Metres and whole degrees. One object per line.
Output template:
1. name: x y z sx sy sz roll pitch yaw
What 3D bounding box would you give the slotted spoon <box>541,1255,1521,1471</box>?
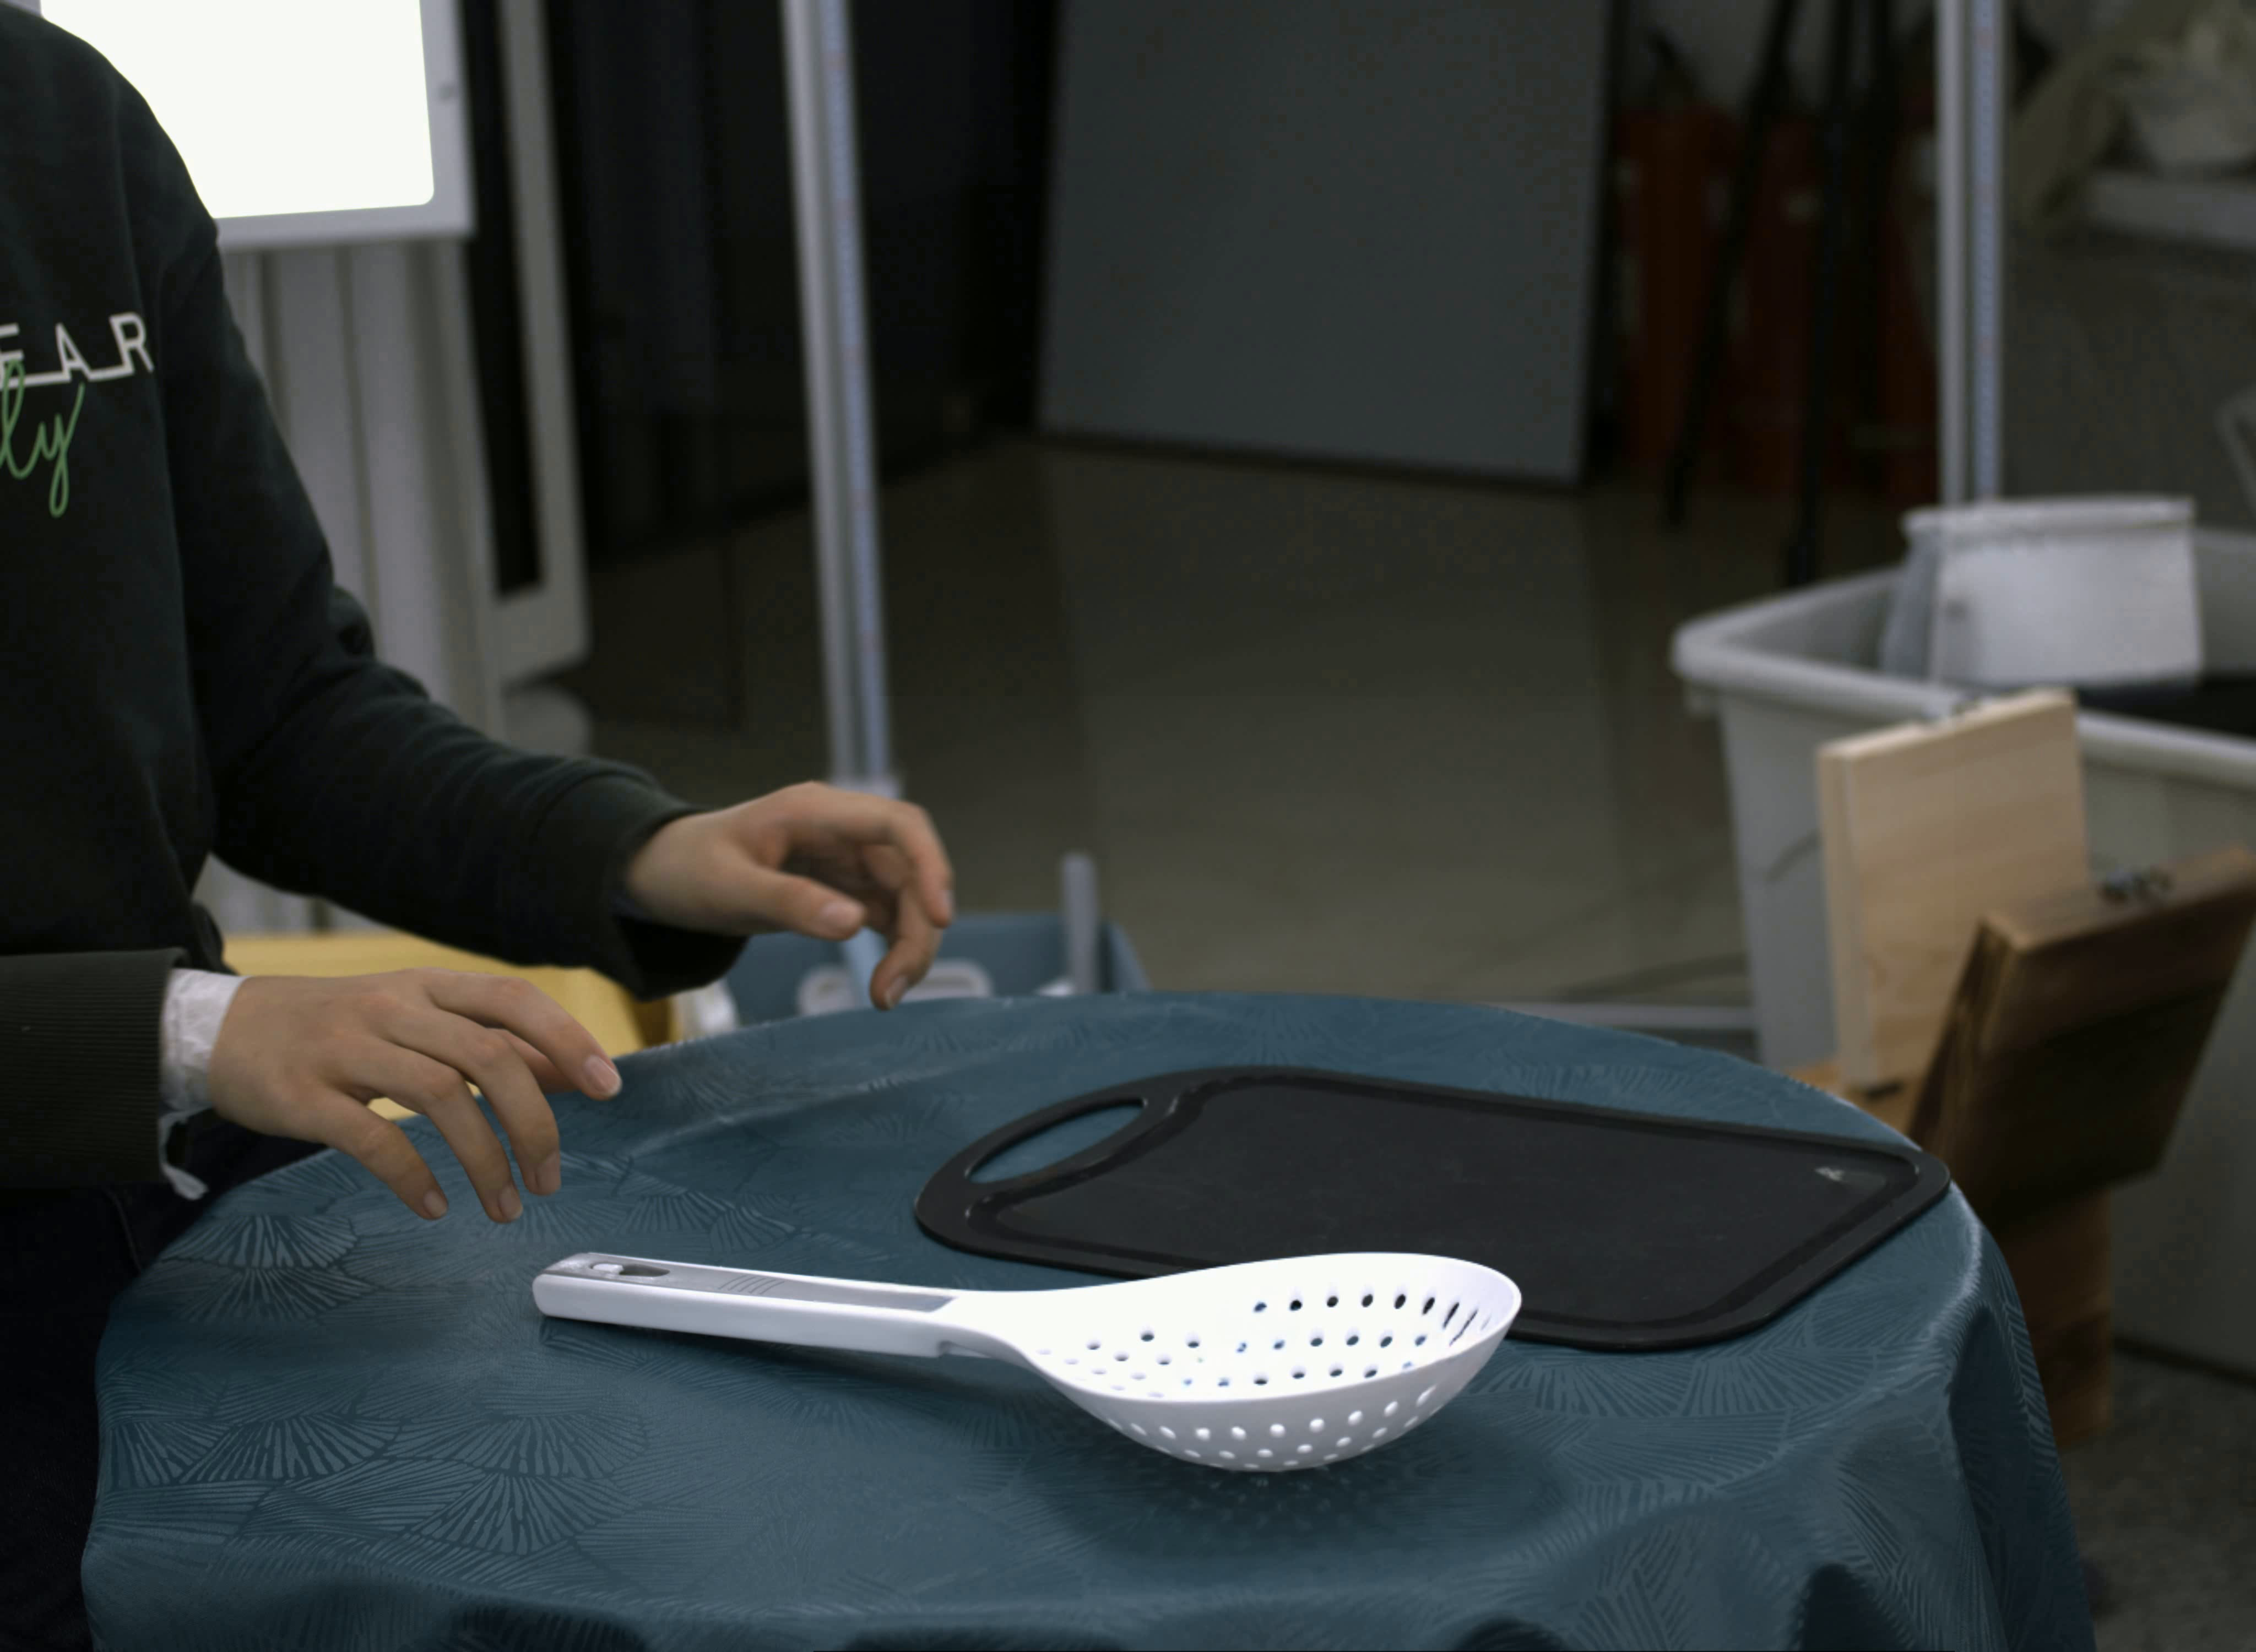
1. slotted spoon: -0.040 0.147 1.584 0.352 0.046 0.133 6 16 38

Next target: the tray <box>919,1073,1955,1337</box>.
1. tray: 0.091 0.118 1.743 0.327 0.010 0.207 5 16 34
